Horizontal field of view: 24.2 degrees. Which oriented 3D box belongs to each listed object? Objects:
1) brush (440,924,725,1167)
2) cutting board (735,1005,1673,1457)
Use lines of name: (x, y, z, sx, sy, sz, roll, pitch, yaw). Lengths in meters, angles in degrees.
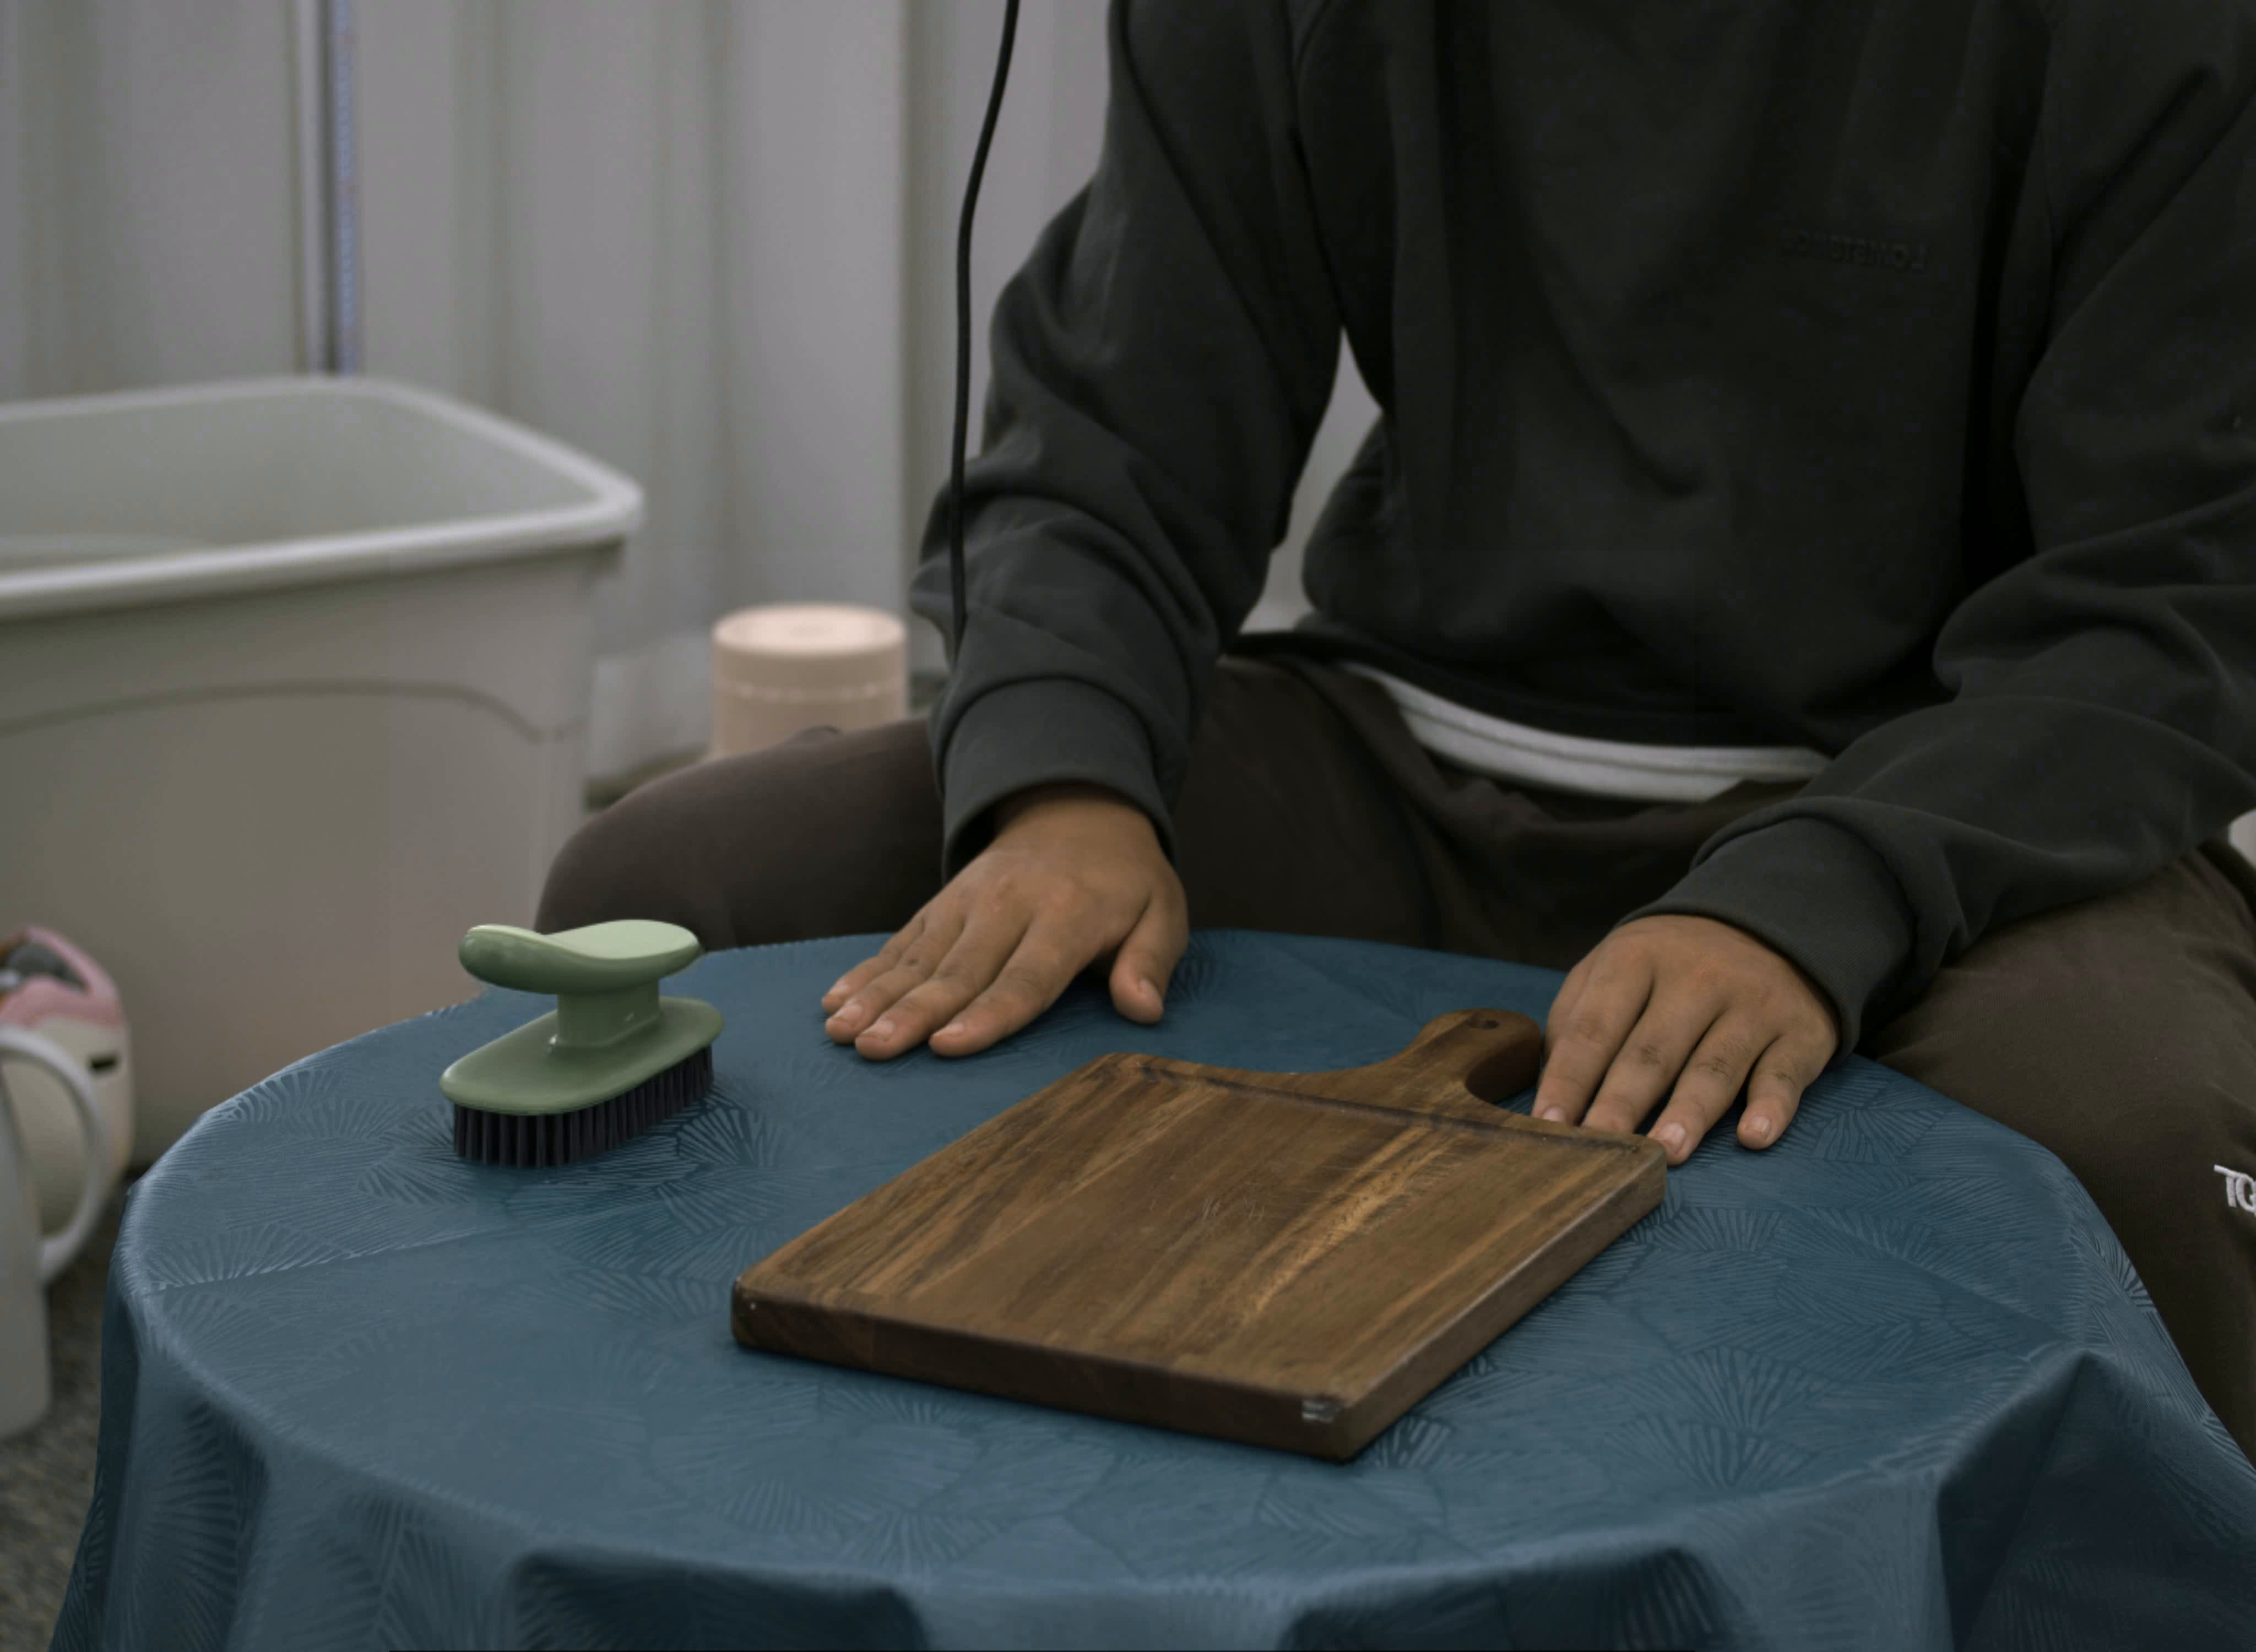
brush: (-0.174, 0.068, 1.680, 0.059, 0.076, 0.124, 8, 3, 23)
cutting board: (0.050, 0.110, 1.599, 0.199, 0.023, 0.353, 8, 17, 25)
